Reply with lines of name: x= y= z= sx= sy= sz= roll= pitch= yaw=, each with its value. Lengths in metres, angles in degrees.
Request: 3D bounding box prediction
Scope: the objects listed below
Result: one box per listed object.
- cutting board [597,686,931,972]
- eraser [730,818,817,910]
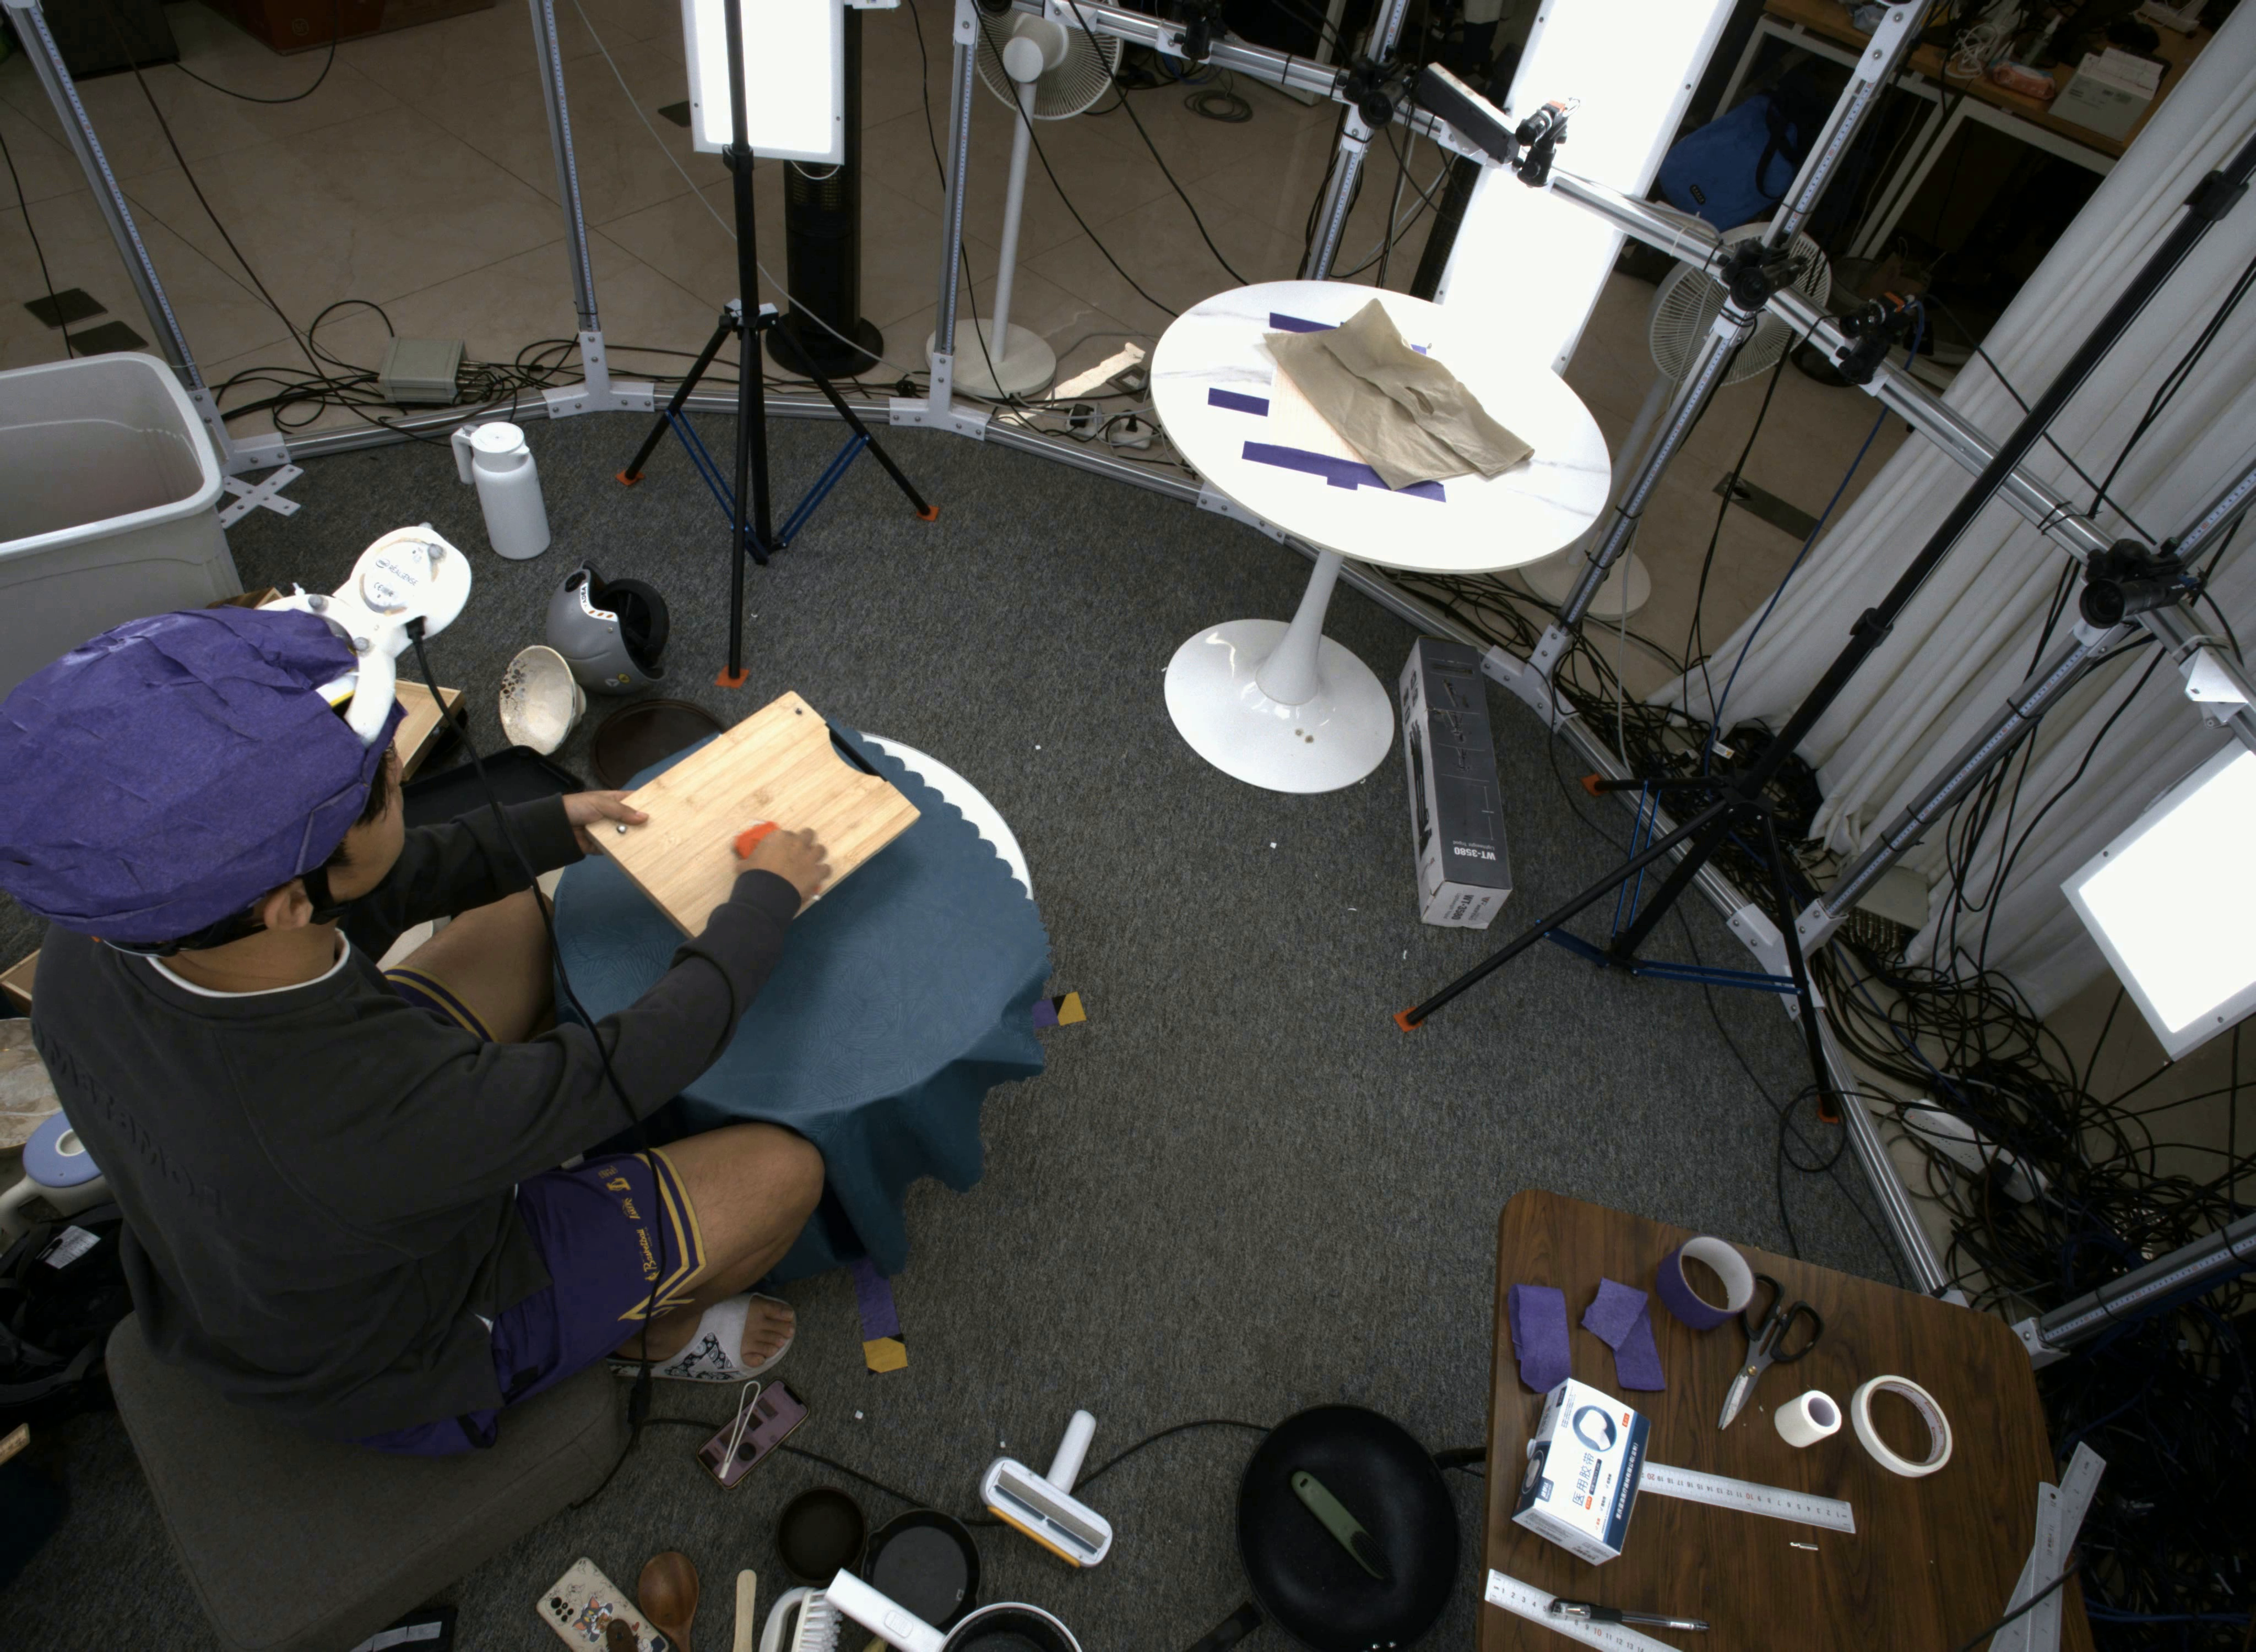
cutting board: x=-0.444 y=-0.009 z=1.597 sx=0.250 sy=0.023 sz=0.348 roll=44 pitch=50 yaw=1
eraser: x=-0.424 y=0.043 z=1.548 sx=0.059 sy=0.023 sz=0.107 roll=-33 pitch=80 yaw=-39
